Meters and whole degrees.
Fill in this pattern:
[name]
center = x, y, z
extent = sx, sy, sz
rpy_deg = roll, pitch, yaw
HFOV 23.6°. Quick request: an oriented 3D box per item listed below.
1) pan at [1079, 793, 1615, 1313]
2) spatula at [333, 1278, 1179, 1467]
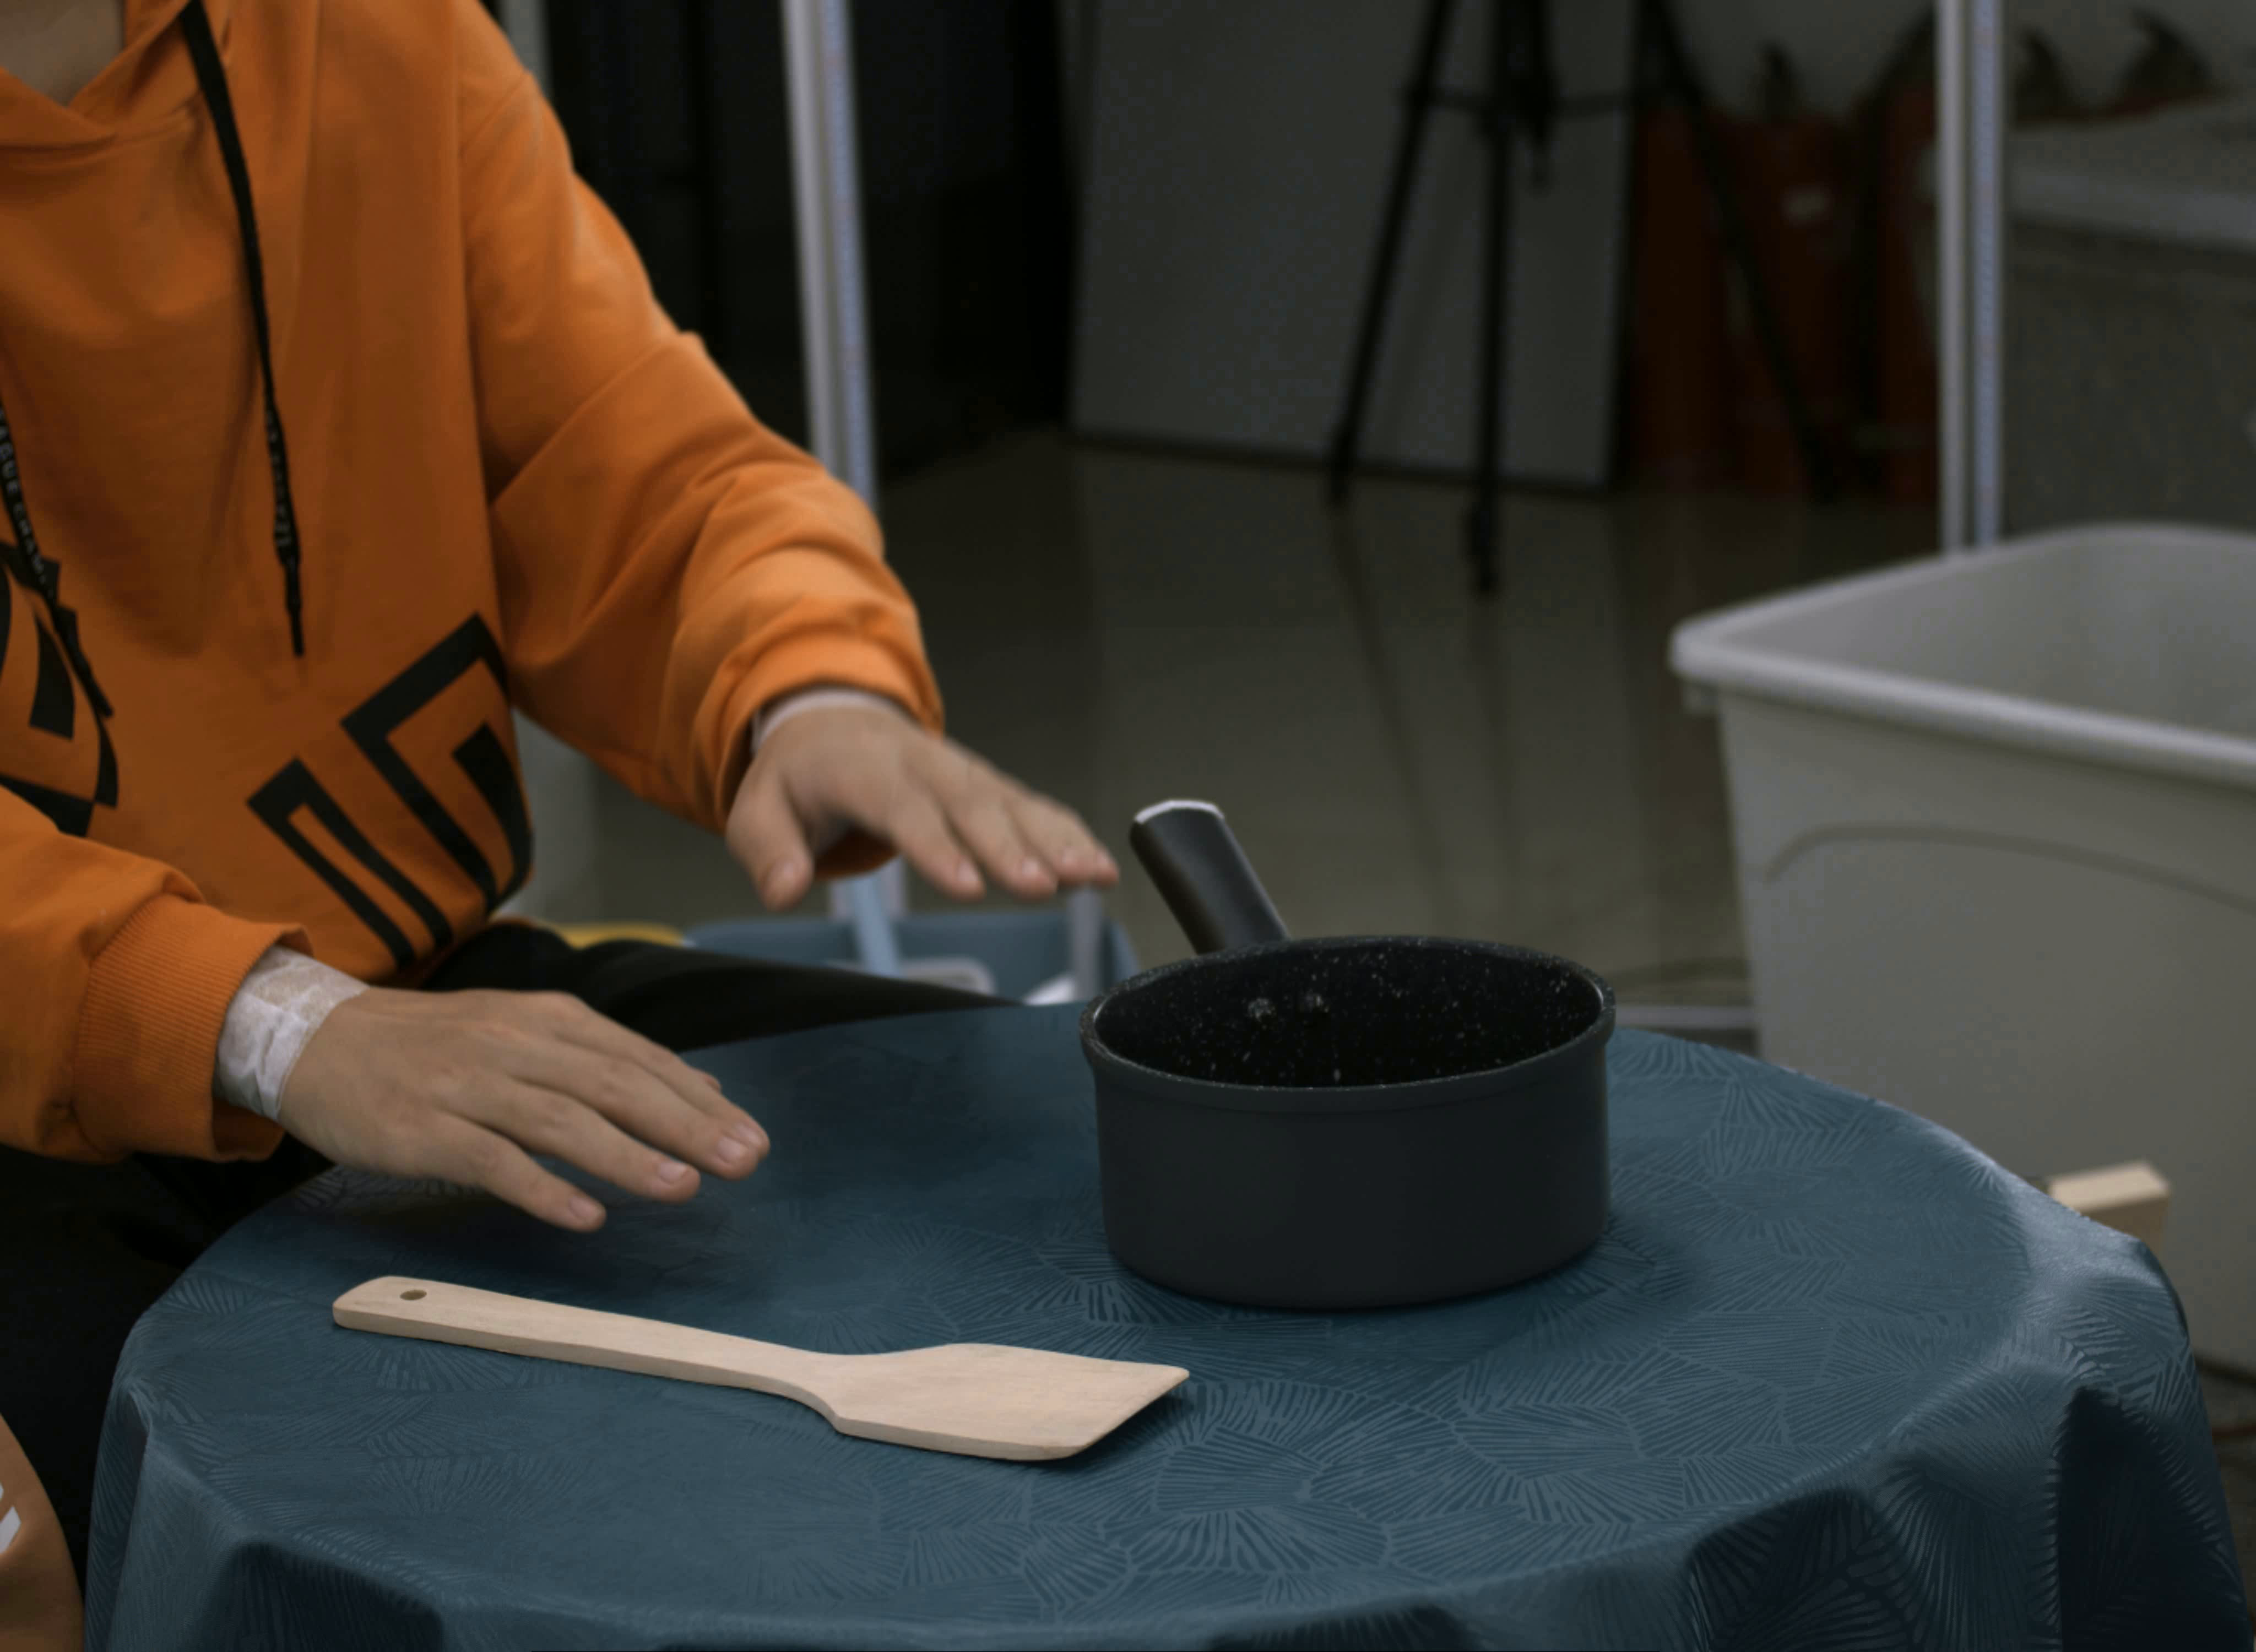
[pan]
center = 0.057, 0.071, 1.780
extent = 0.169, 0.087, 0.330
rpy_deg = -5, 15, -8
[spatula]
center = -0.123, 0.161, 1.626
extent = 0.294, 0.011, 0.071
rpy_deg = 5, 20, 33
